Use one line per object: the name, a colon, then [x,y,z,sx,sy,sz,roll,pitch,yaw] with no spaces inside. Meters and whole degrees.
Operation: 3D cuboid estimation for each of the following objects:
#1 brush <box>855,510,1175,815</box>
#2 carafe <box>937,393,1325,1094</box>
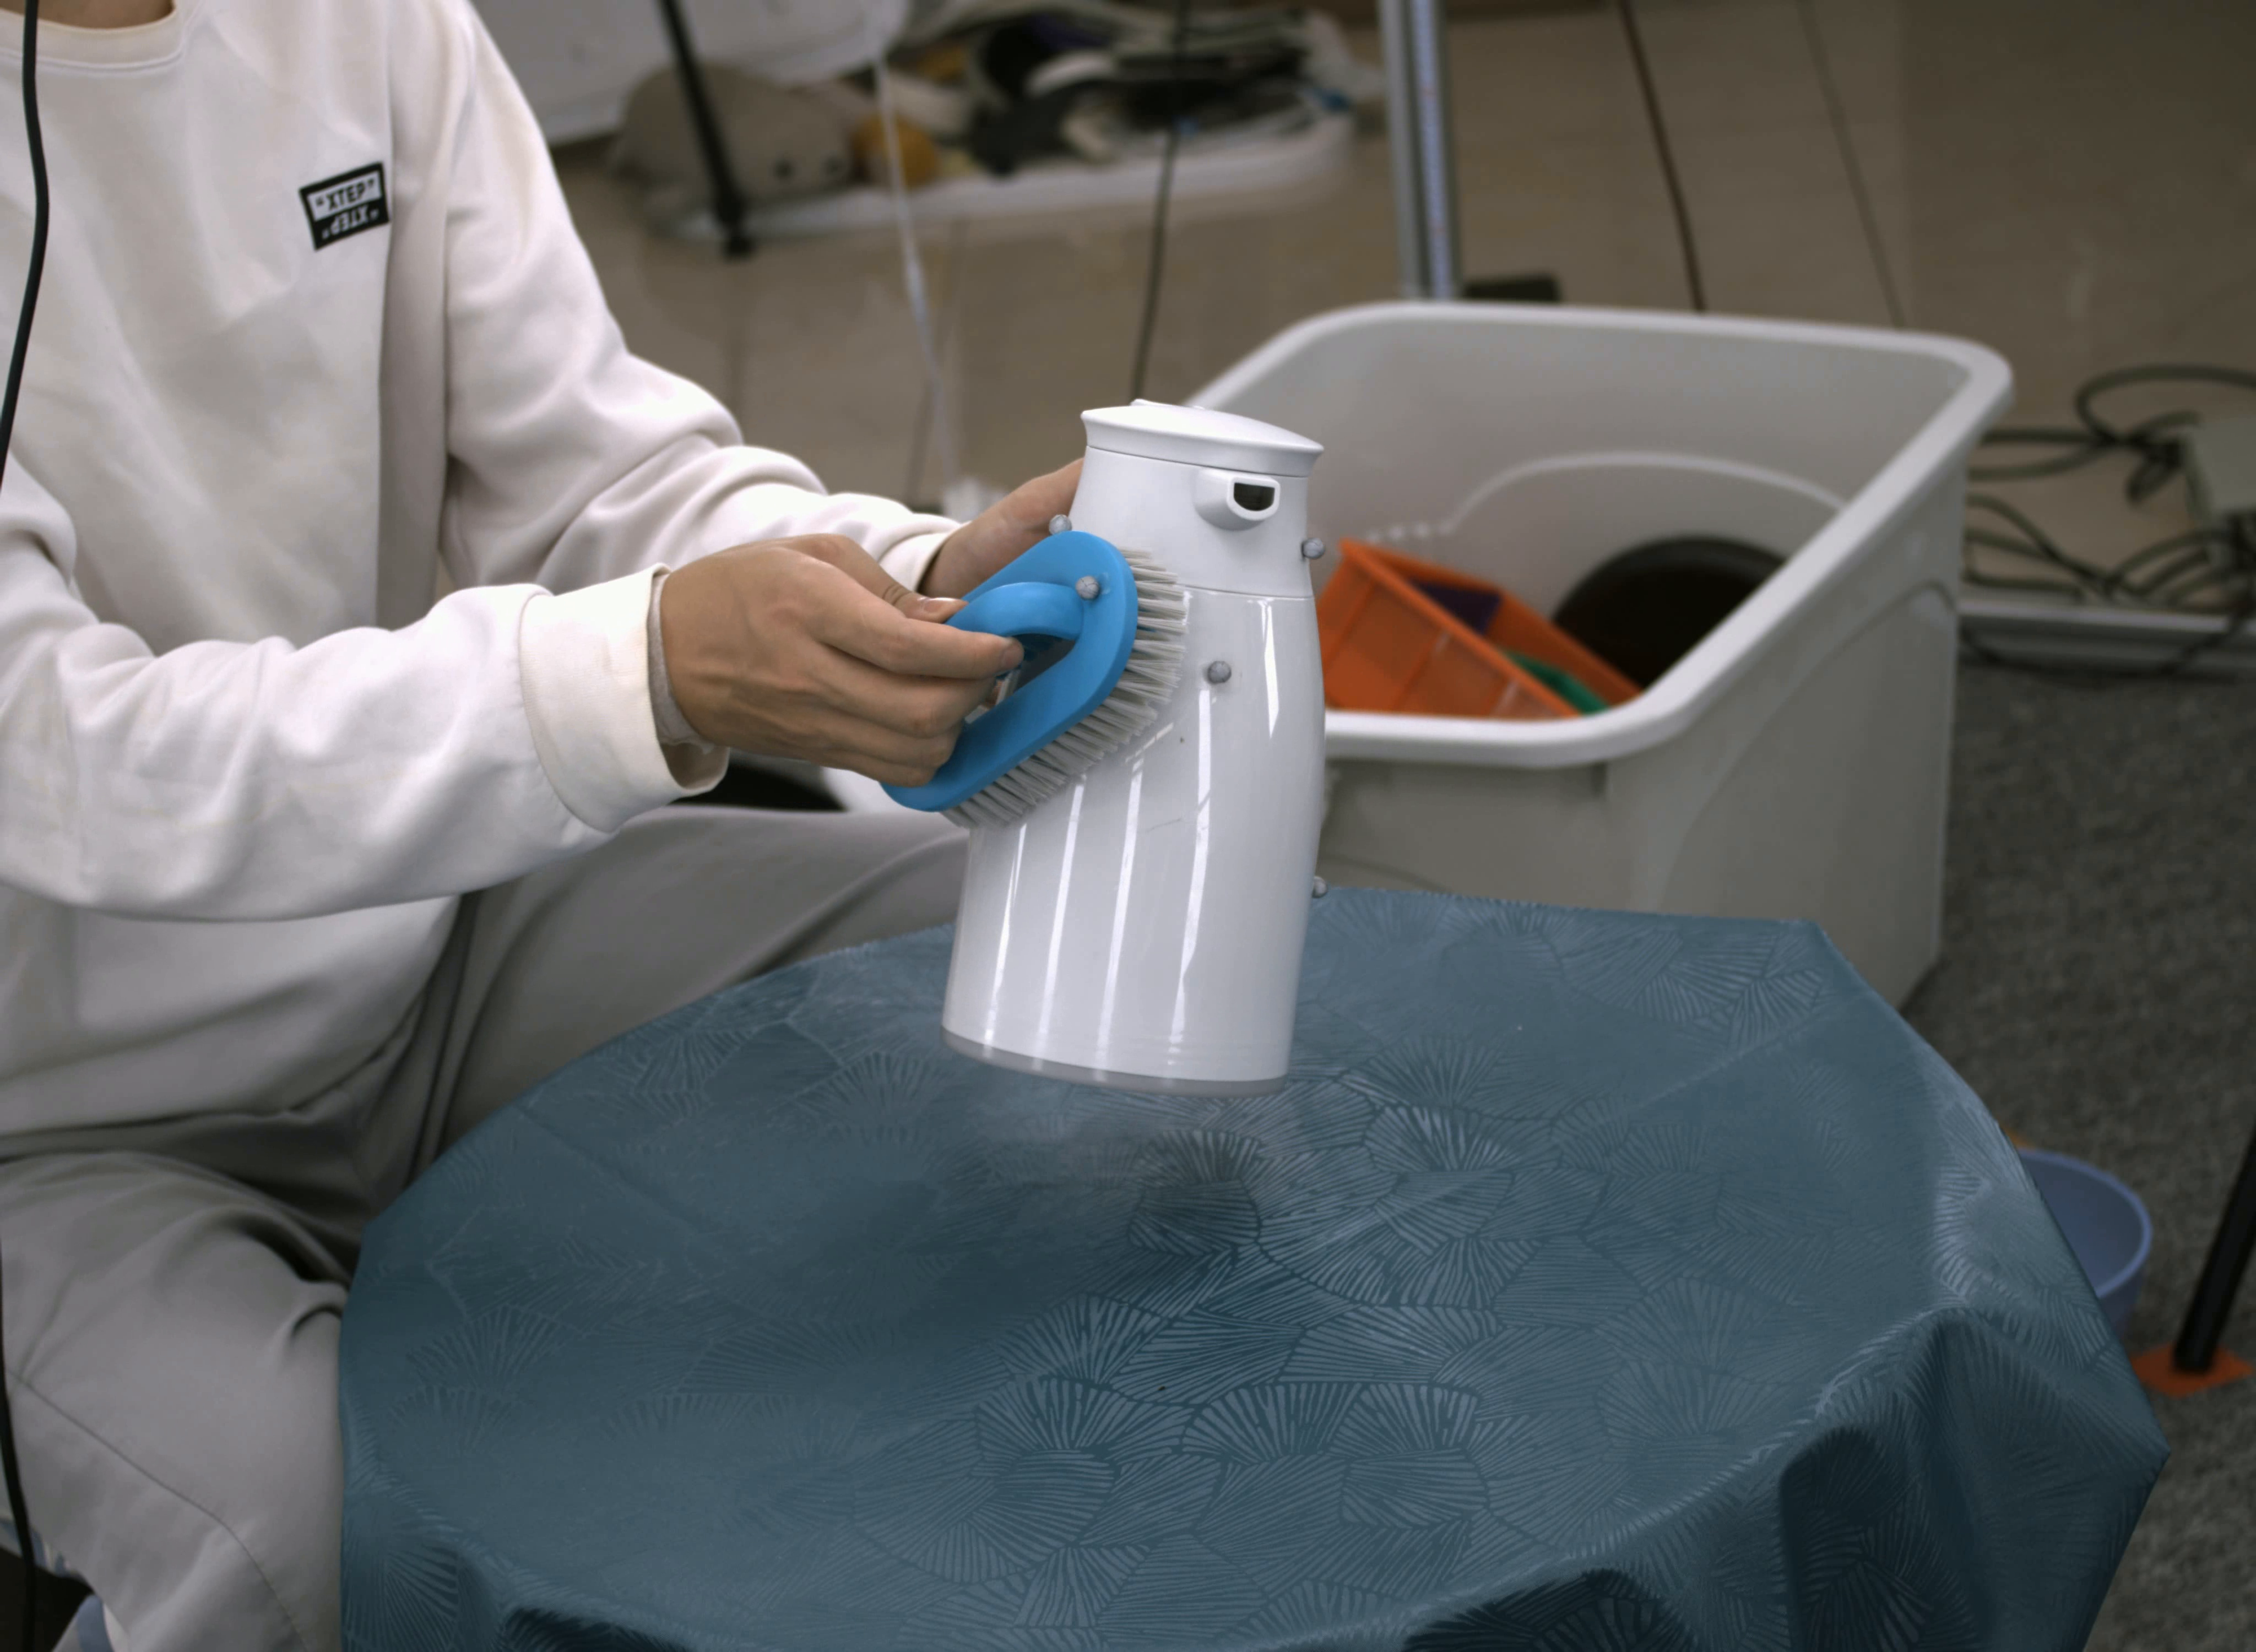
brush: [-0.051,-0.059,2.040,0.064,0.083,0.143,11,-31,-44]
carafe: [0.003,-0.037,2.124,0.132,0.250,0.166,5,8,-22]
